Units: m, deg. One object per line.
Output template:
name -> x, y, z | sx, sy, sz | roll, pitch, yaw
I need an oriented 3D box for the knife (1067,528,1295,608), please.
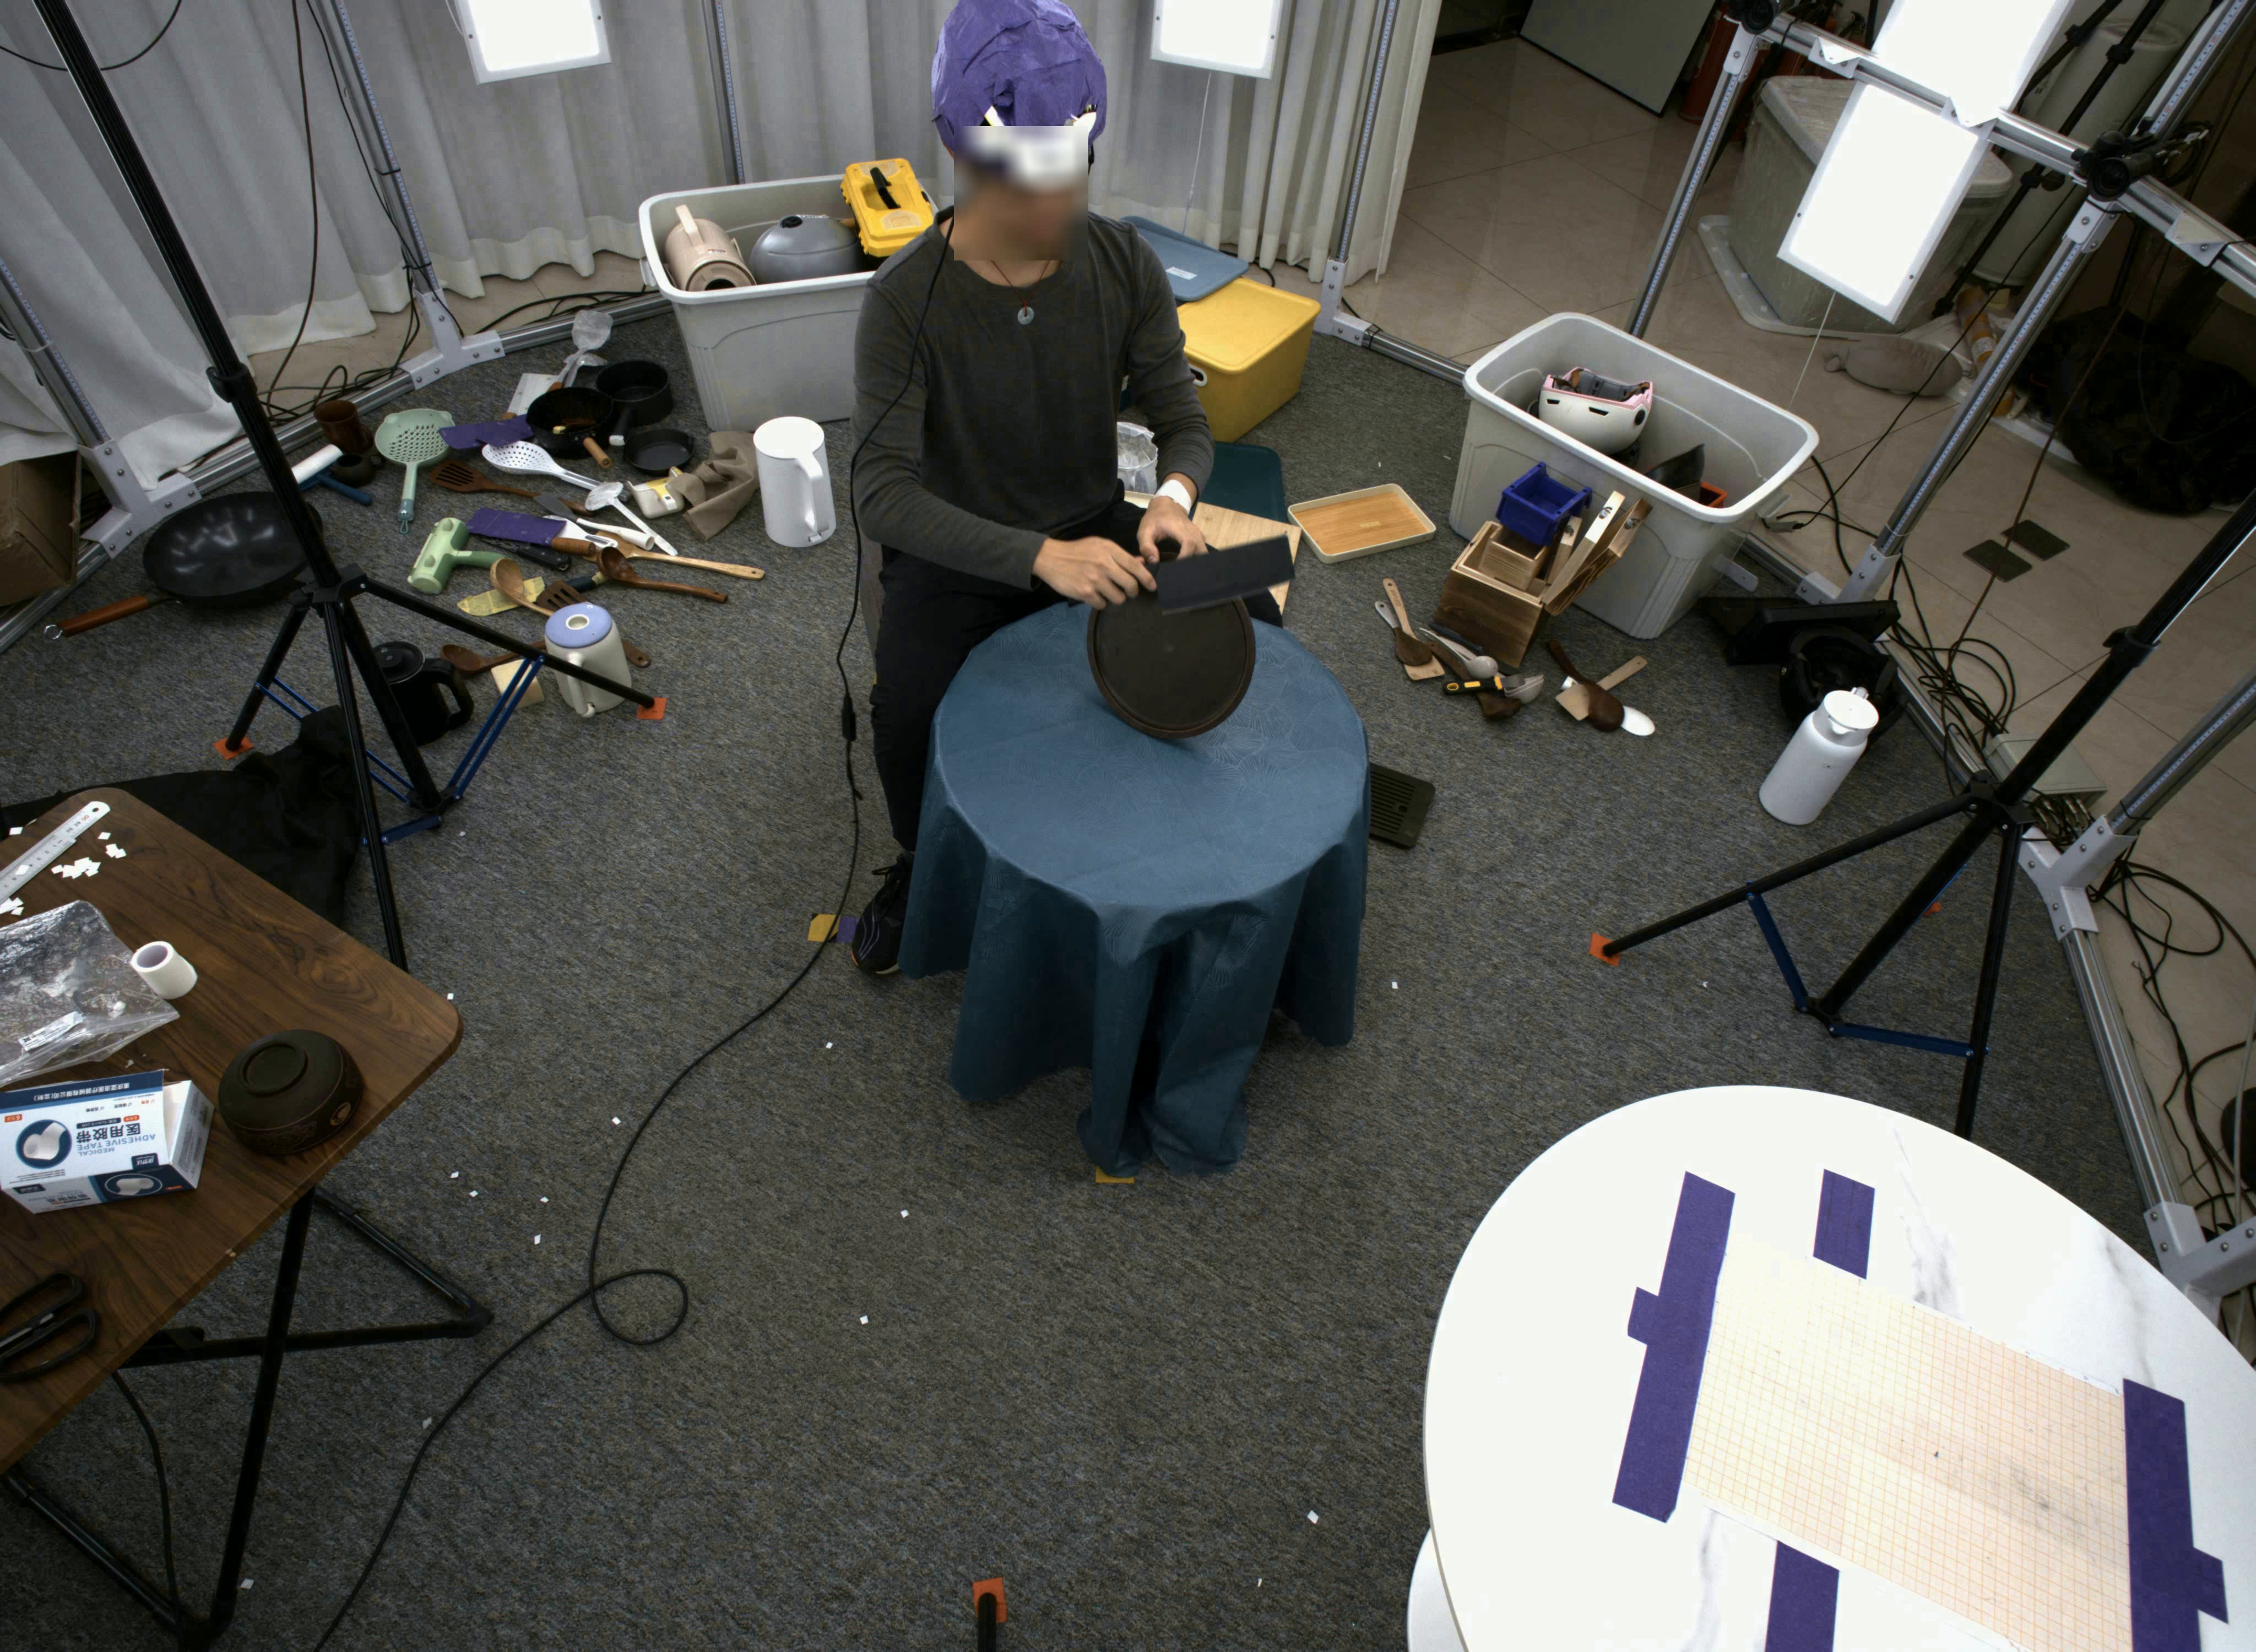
knife -> 0.065, -0.325, 1.678 | 0.302, 0.081, 0.021 | -7, 2, 11

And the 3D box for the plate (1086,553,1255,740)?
plate -> 0.056, -0.243, 1.742 | 0.257, 0.250, 0.029 | 30, 26, 20
